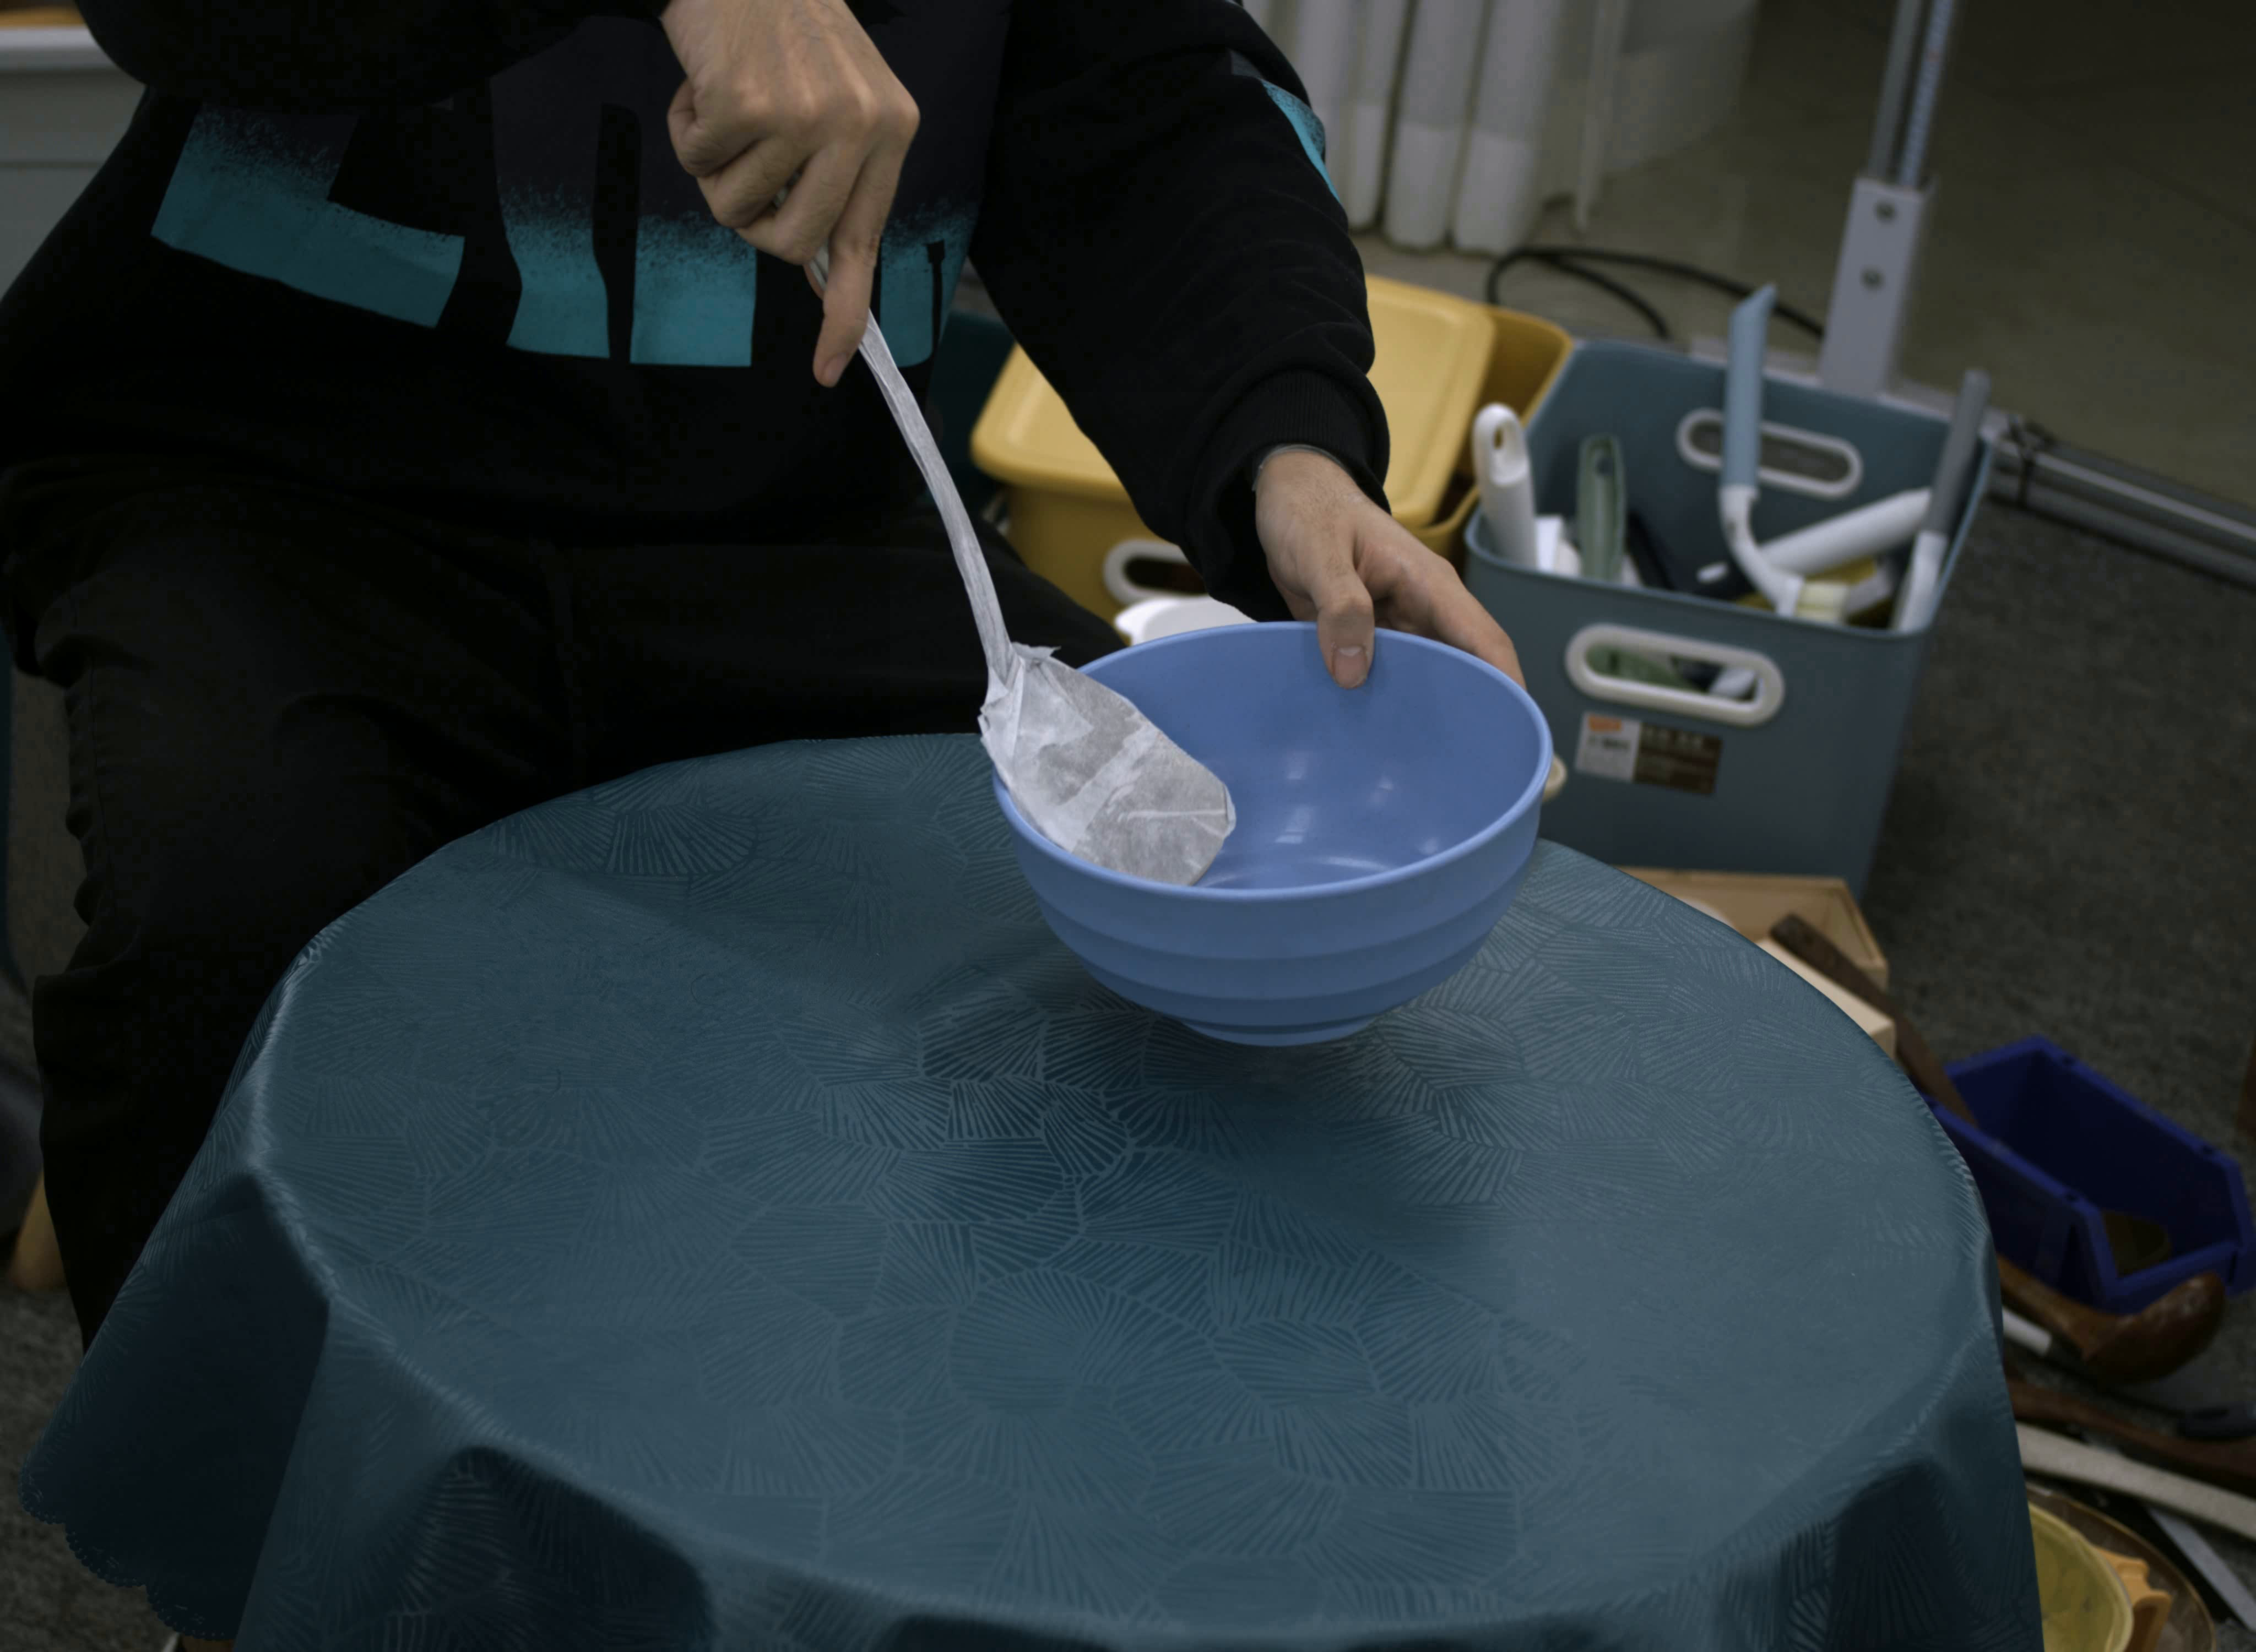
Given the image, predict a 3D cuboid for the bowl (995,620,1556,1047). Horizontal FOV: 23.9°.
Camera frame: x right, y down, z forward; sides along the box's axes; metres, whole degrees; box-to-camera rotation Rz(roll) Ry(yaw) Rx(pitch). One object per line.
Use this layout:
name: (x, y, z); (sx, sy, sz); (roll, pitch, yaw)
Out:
bowl: (0.054, 0.014, 1.878); (0.196, 0.095, 0.198); (-4, 30, 2)

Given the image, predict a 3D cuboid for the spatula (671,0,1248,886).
spatula: (-0.067, -0.135, 1.858); (0.045, 0.364, 0.098); (-20, 12, 34)
